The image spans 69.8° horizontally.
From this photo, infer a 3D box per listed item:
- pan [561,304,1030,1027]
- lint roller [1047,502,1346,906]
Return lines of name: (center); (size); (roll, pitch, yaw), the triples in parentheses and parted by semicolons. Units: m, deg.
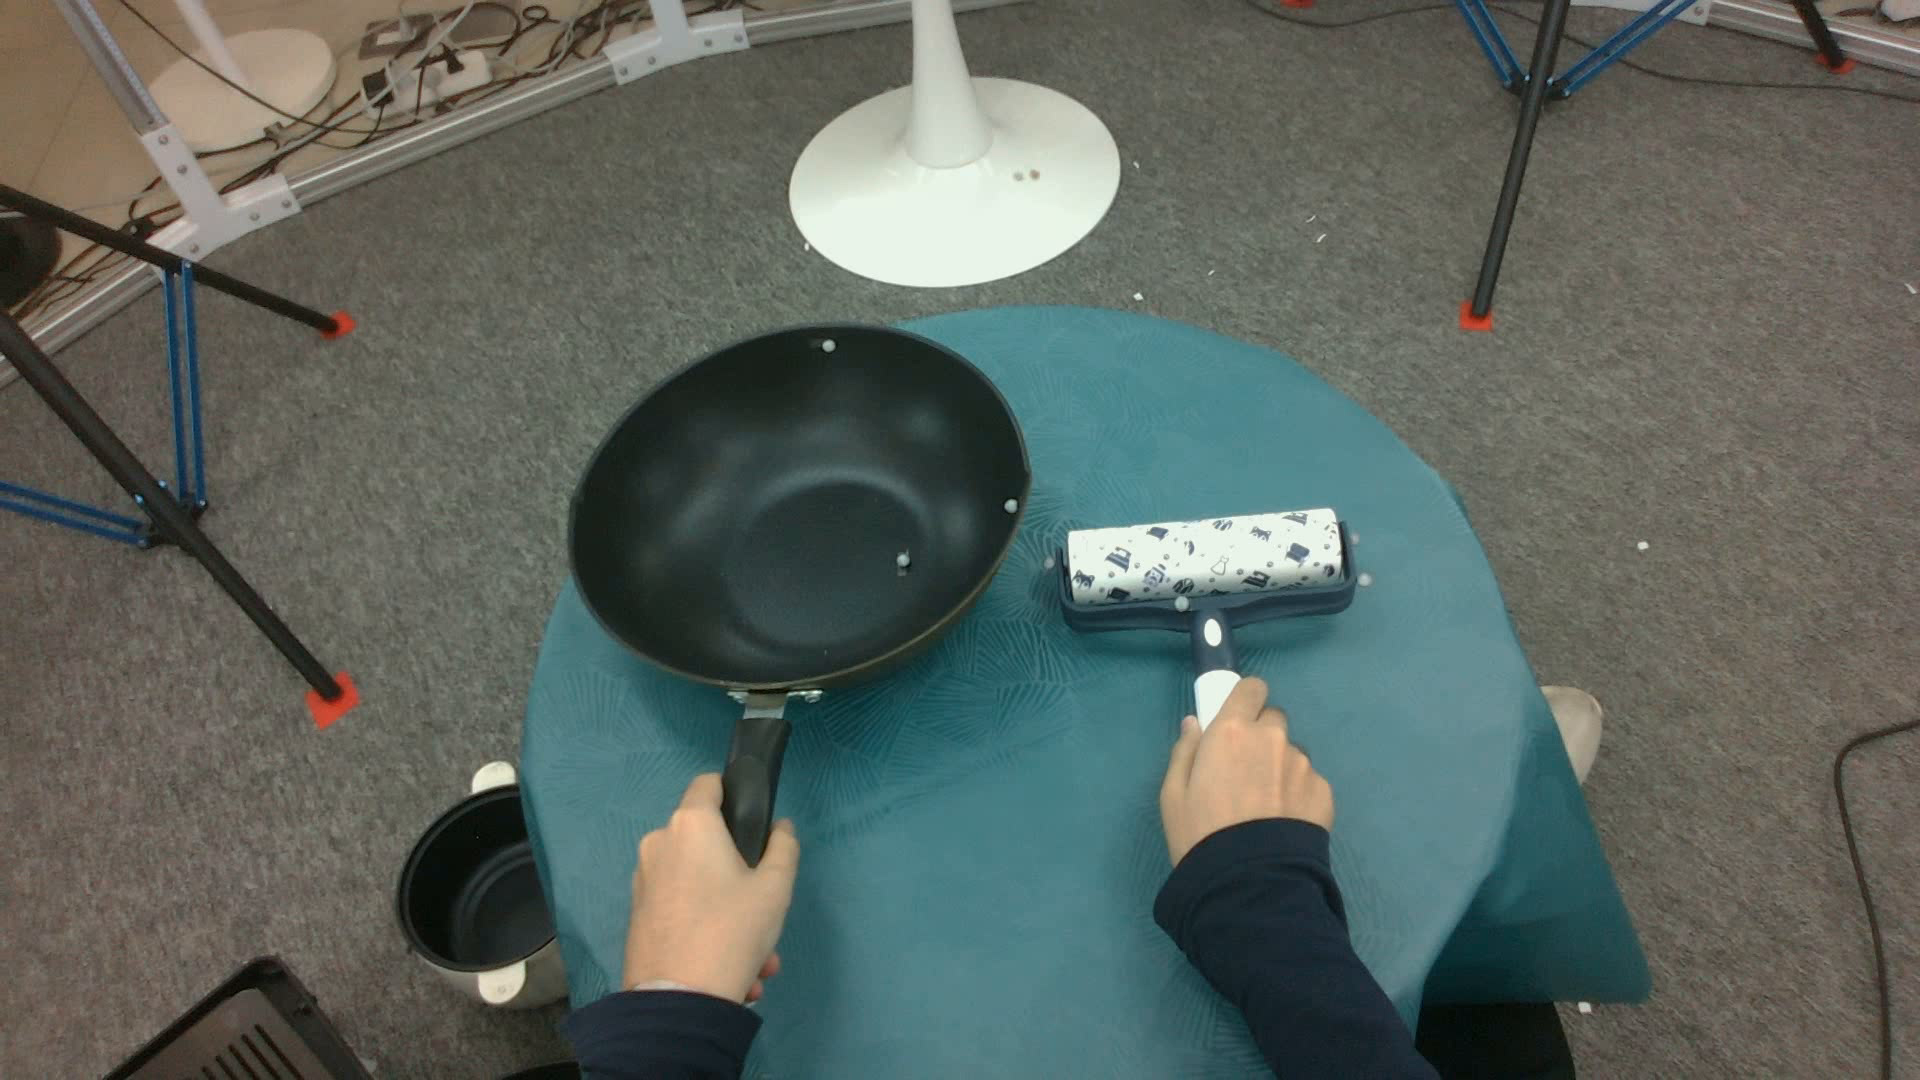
pan: (-0.103, 0.057, 0.803); (0.288, 0.086, 0.465); (-1, 54, 8)
lint roller: (0.142, 0.081, 0.772); (0.176, 0.050, 0.248); (-4, 50, 4)
